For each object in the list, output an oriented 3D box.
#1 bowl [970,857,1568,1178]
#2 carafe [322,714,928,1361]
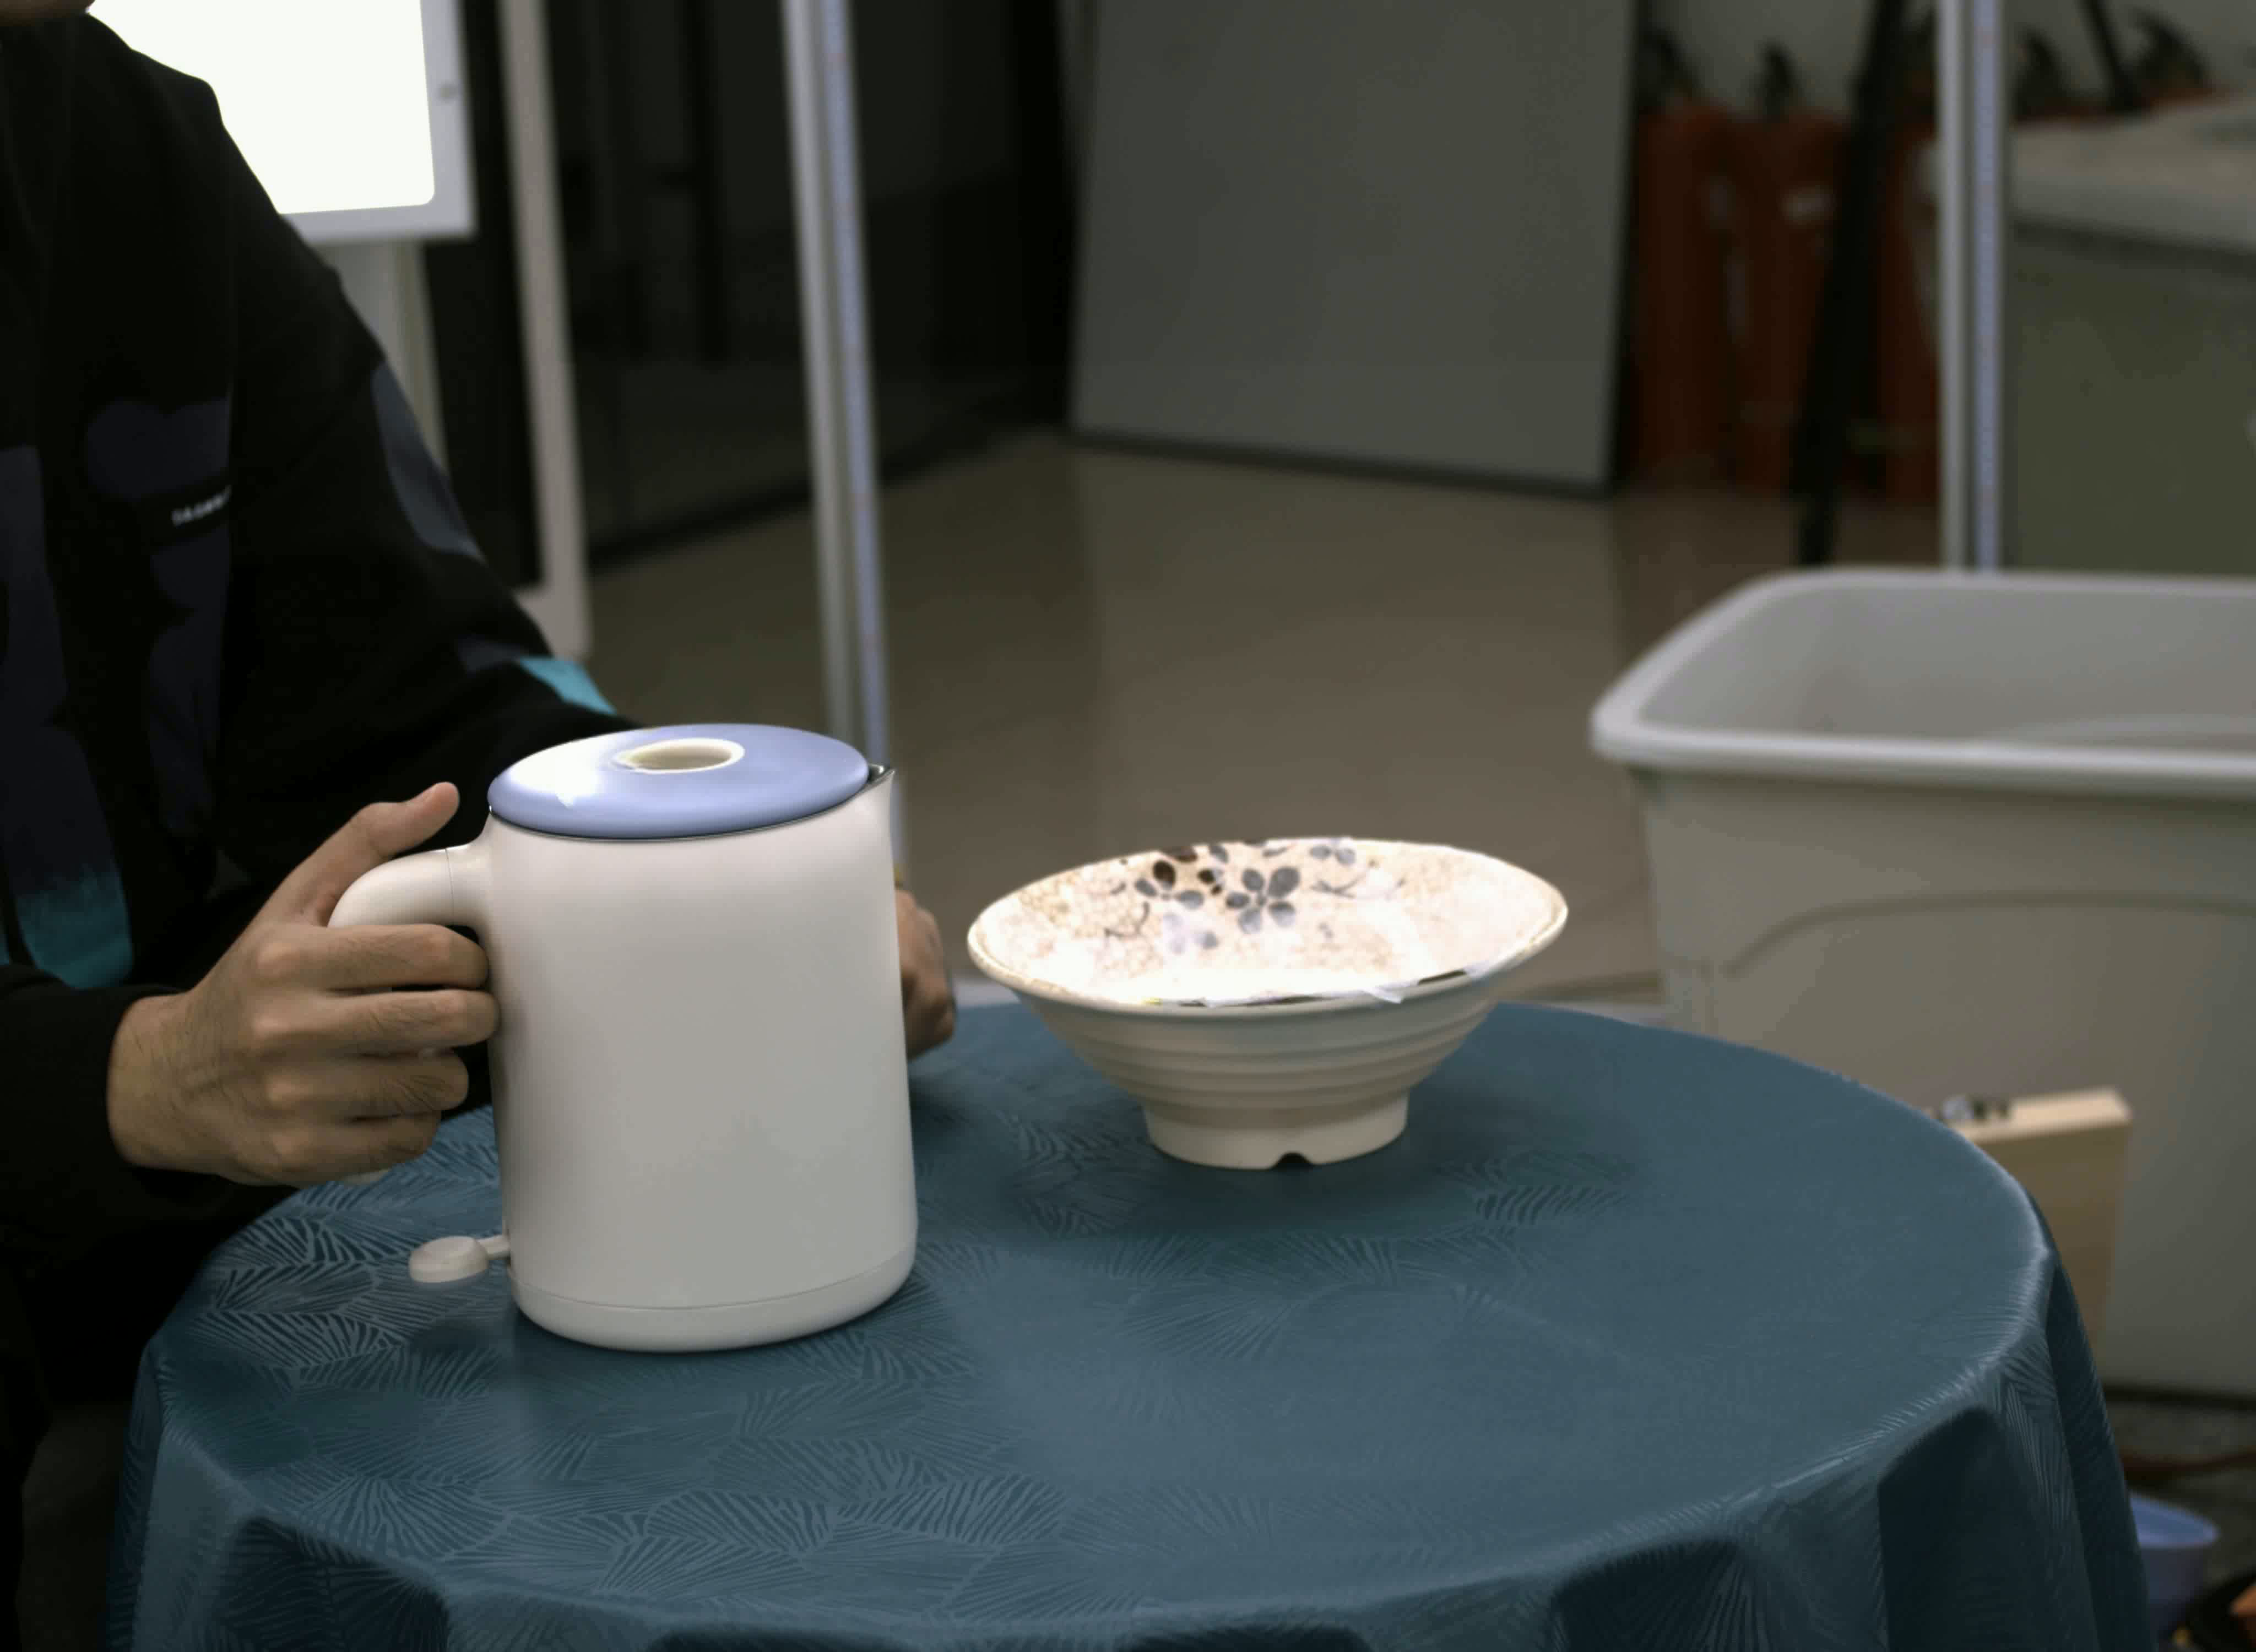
[{"bbox_3d":[0.050,0.069,1.811,0.201,0.079,0.204,-6,11,0],"label":"bowl"},{"bbox_3d":[-0.156,0.068,1.675,0.187,0.184,0.133,-10,13,-13],"label":"carafe"}]
